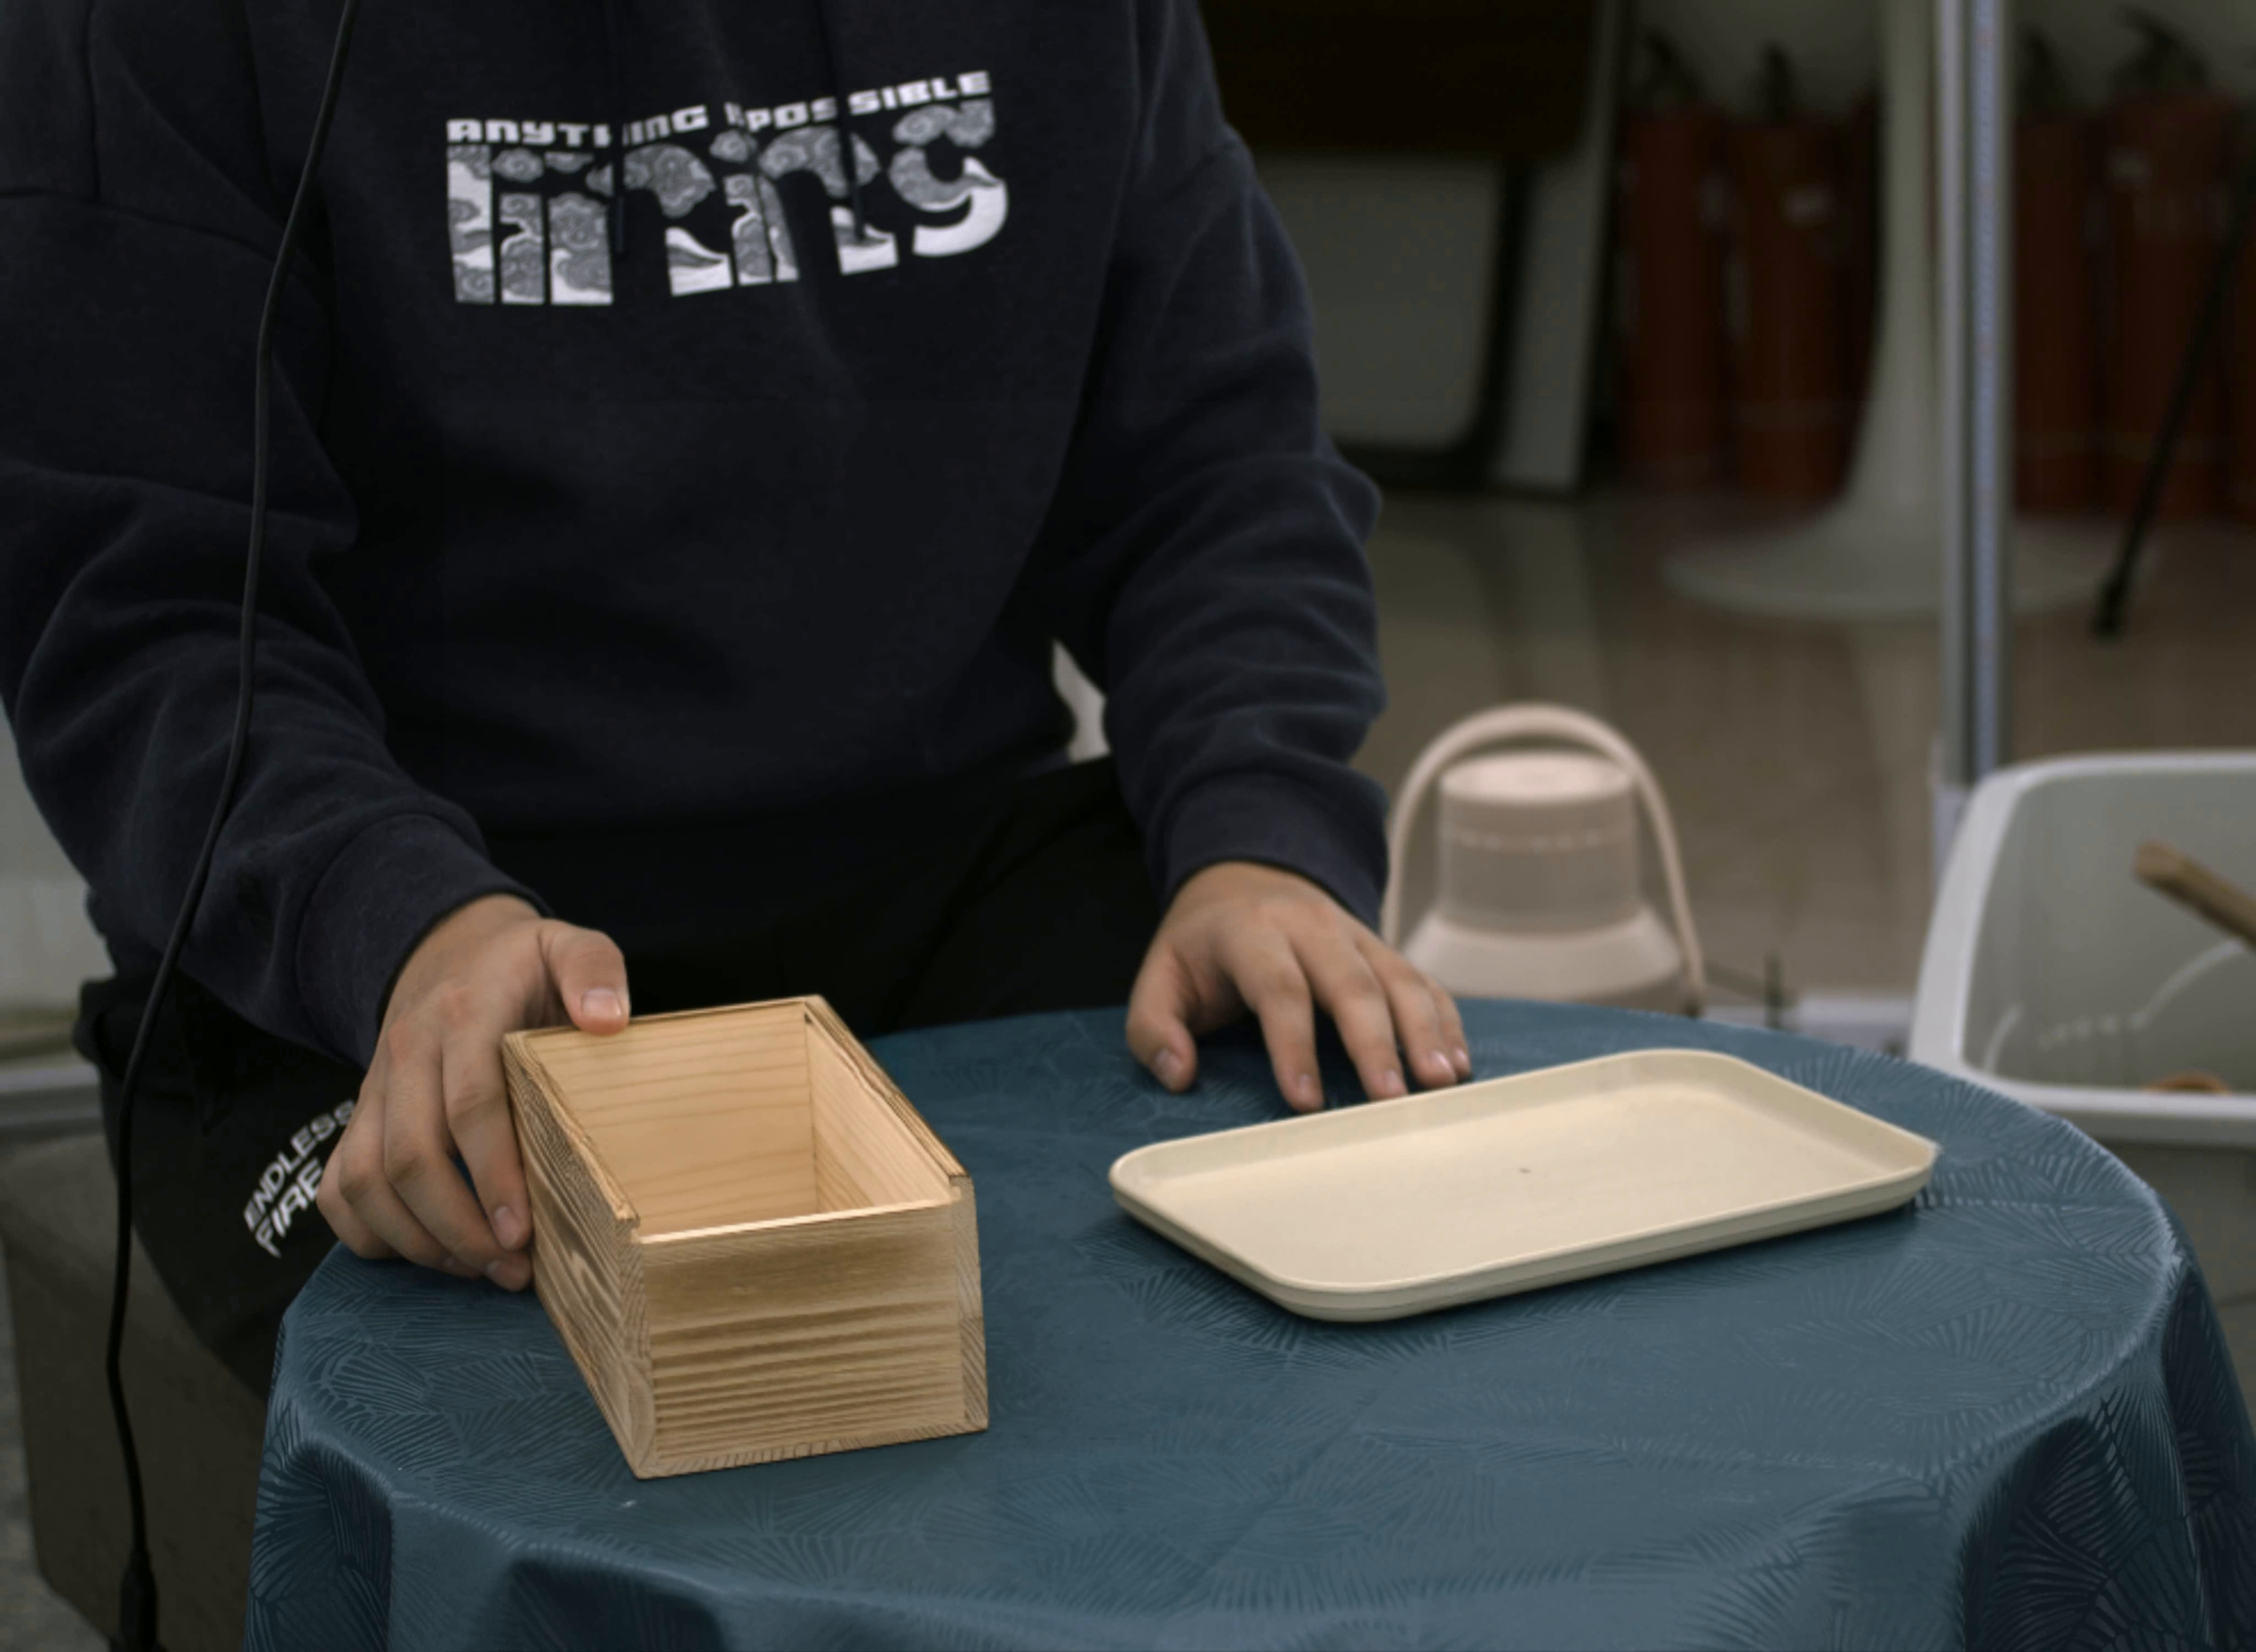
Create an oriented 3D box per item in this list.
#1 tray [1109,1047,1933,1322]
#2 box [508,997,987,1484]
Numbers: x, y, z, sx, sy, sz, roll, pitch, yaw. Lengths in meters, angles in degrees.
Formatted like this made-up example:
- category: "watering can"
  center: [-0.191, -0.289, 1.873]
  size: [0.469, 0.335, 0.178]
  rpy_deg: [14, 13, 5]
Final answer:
- category: "tray"
  center: [0.126, 0.114, 1.729]
  size: [0.234, 0.017, 0.173]
  rpy_deg: [-10, 14, -23]
- category: "box"
  center: [-0.118, 0.121, 1.640]
  size: [0.105, 0.081, 0.213]
  rpy_deg: [-7, 14, -14]
